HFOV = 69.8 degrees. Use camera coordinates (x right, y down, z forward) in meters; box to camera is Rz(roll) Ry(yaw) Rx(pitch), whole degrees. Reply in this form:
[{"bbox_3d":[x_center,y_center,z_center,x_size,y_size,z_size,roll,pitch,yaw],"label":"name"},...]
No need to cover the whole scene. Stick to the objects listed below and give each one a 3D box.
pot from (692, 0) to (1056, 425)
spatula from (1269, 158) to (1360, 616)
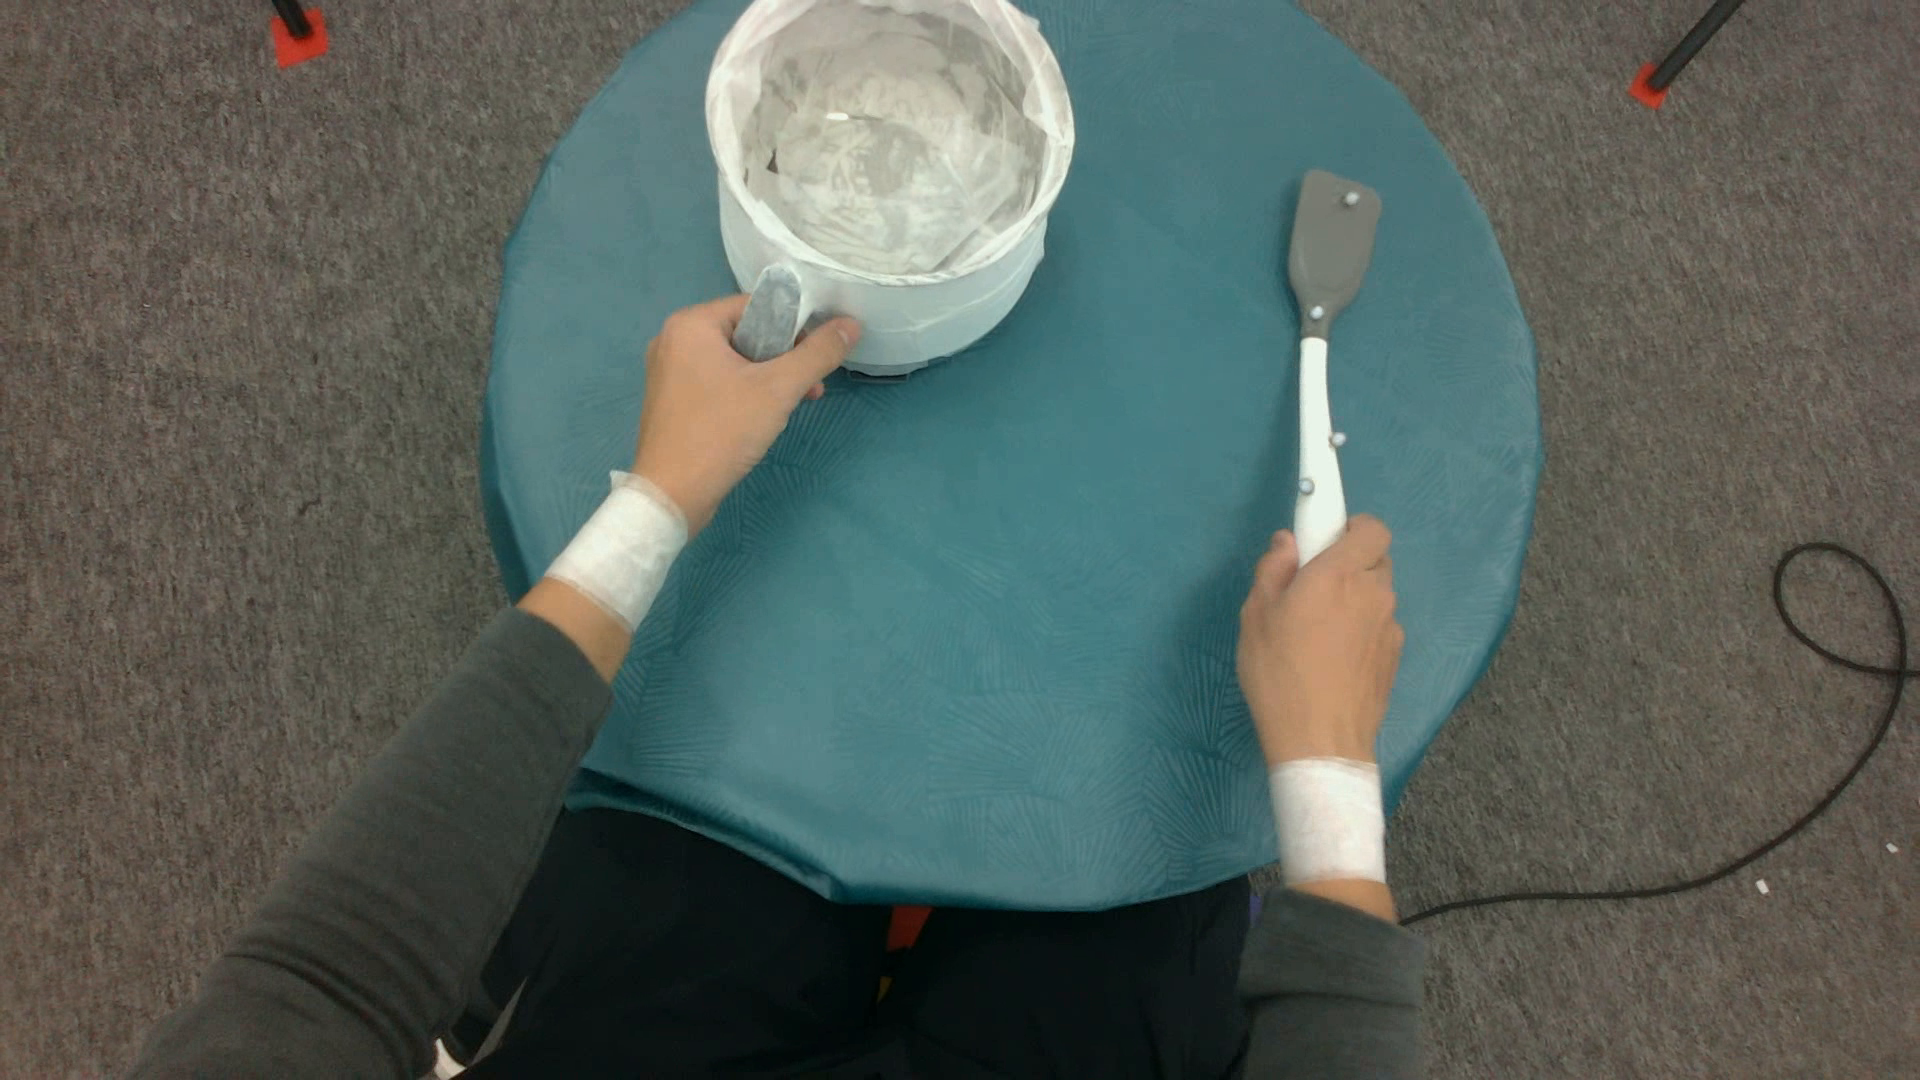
[{"bbox_3d":[-0.061,-0.171,0.719,0.179,0.136,0.234,29,74,2],"label":"pot"},{"bbox_3d":[0.196,-0.094,0.775,0.059,0.032,0.289,14,63,-12],"label":"spatula"}]
